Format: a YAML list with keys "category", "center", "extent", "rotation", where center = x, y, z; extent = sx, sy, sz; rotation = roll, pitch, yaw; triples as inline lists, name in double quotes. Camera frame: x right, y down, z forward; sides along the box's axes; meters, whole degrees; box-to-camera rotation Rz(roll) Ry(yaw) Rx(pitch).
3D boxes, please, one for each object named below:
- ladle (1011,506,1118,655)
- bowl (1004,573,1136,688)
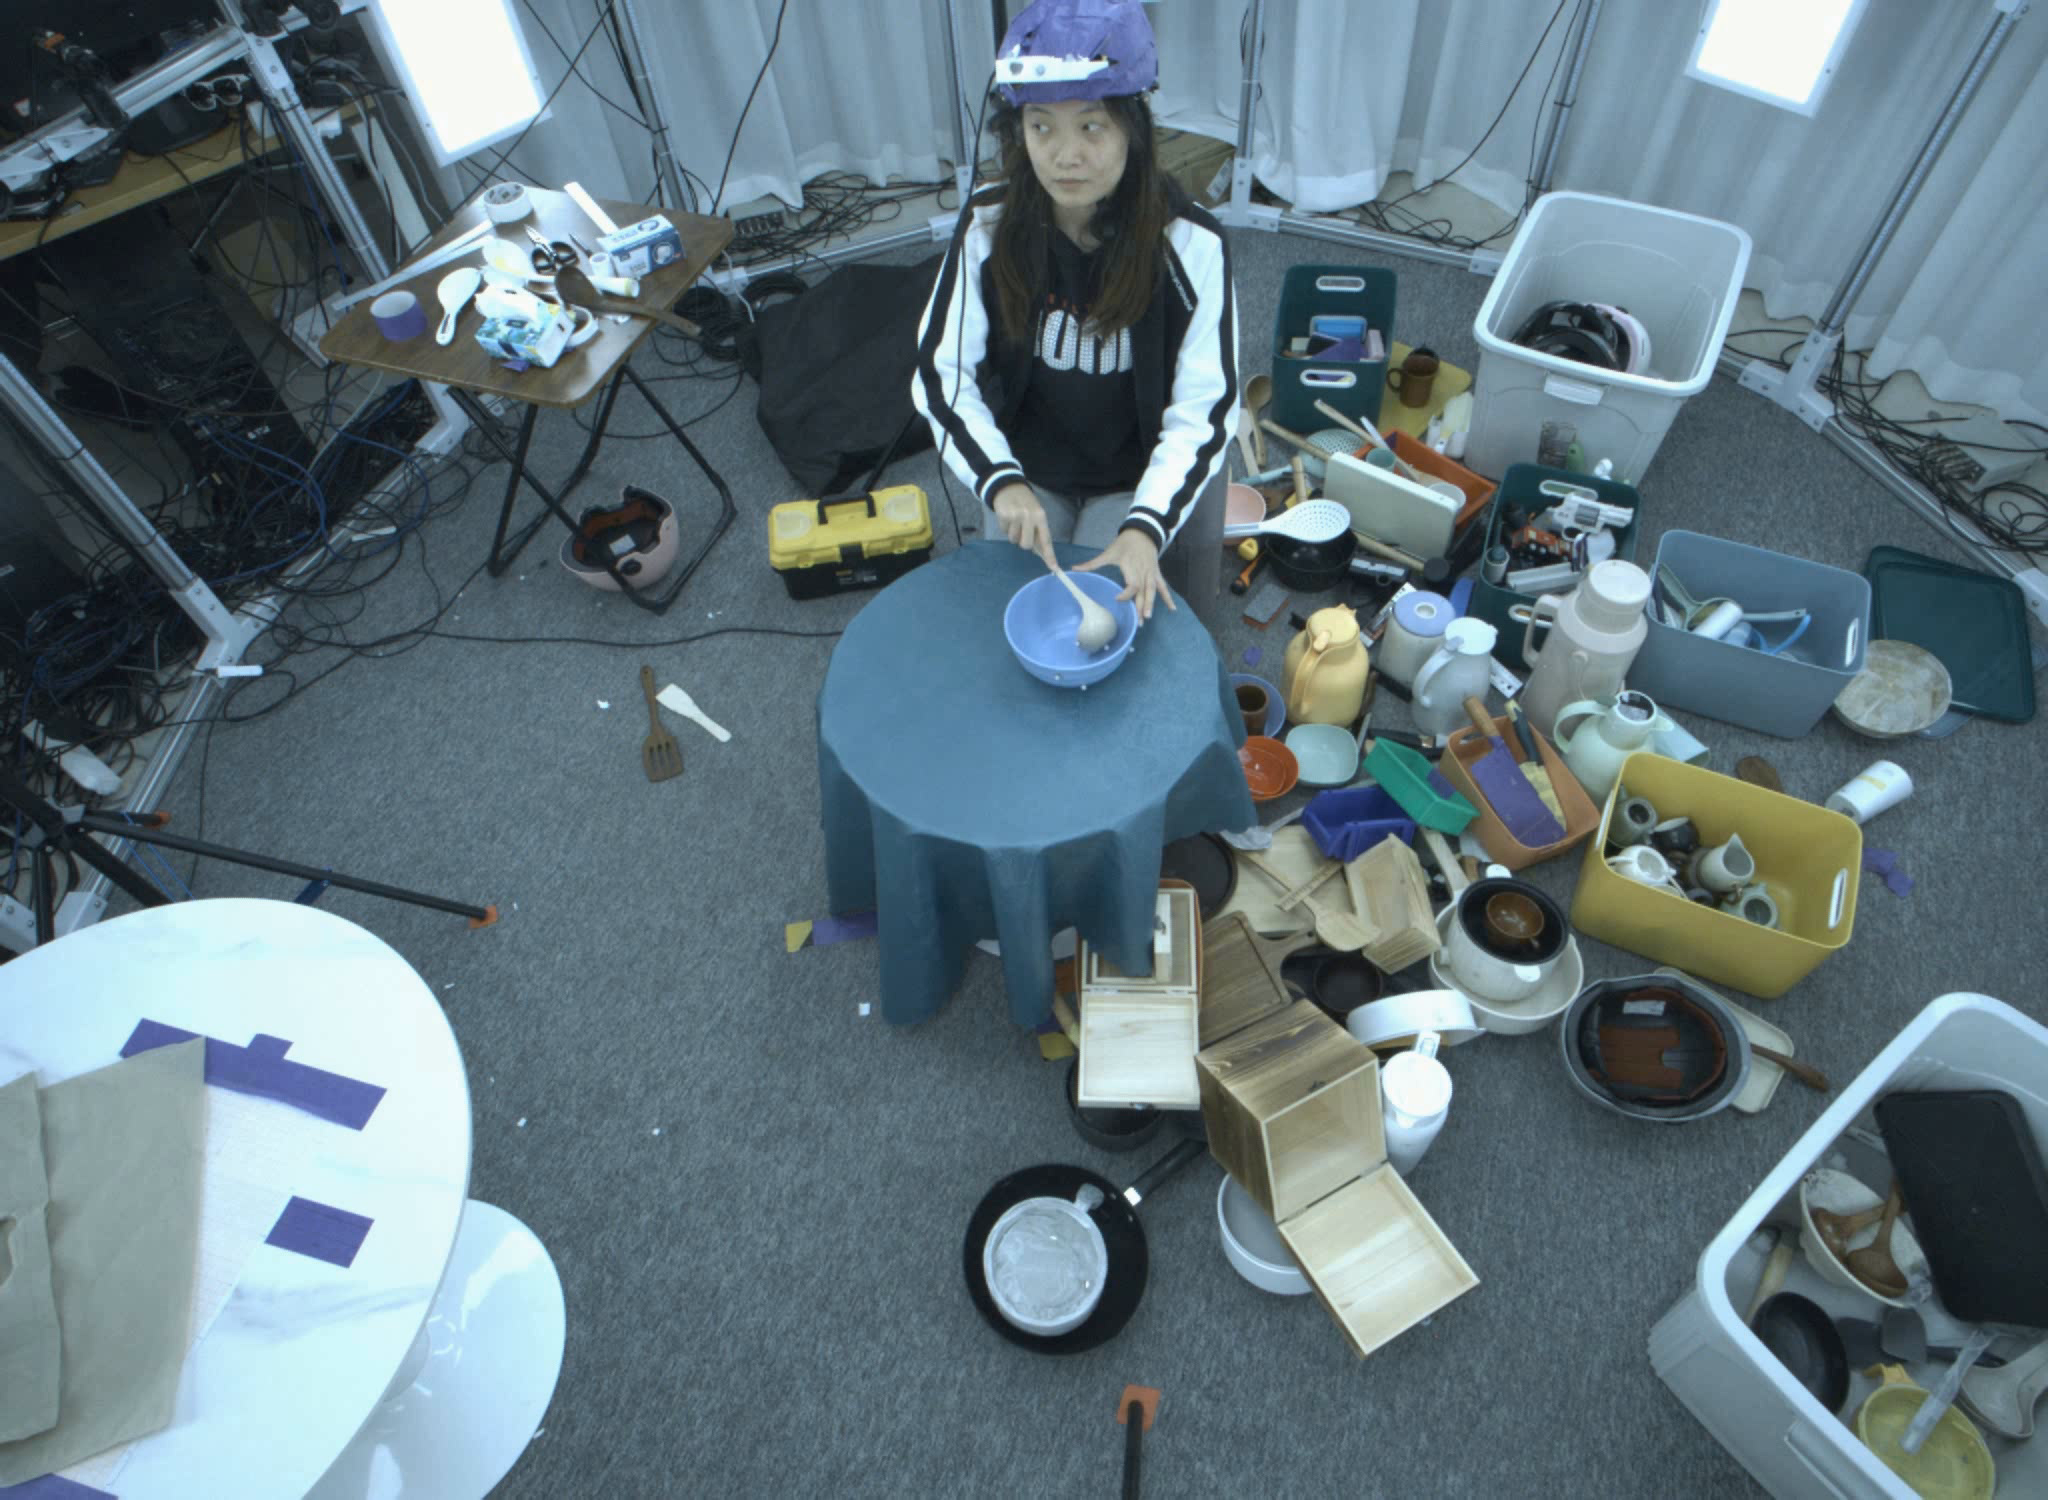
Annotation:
- category: "ladle"
  center: [0.050, -0.255, 1.863]
  extent: [0.073, 0.072, 0.253]
  rotation: [-33, 80, -23]
- category: "bowl"
  center: [0.071, -0.164, 1.848]
  extent: [0.196, 0.096, 0.194]
  rotation: [-2, 54, 3]
